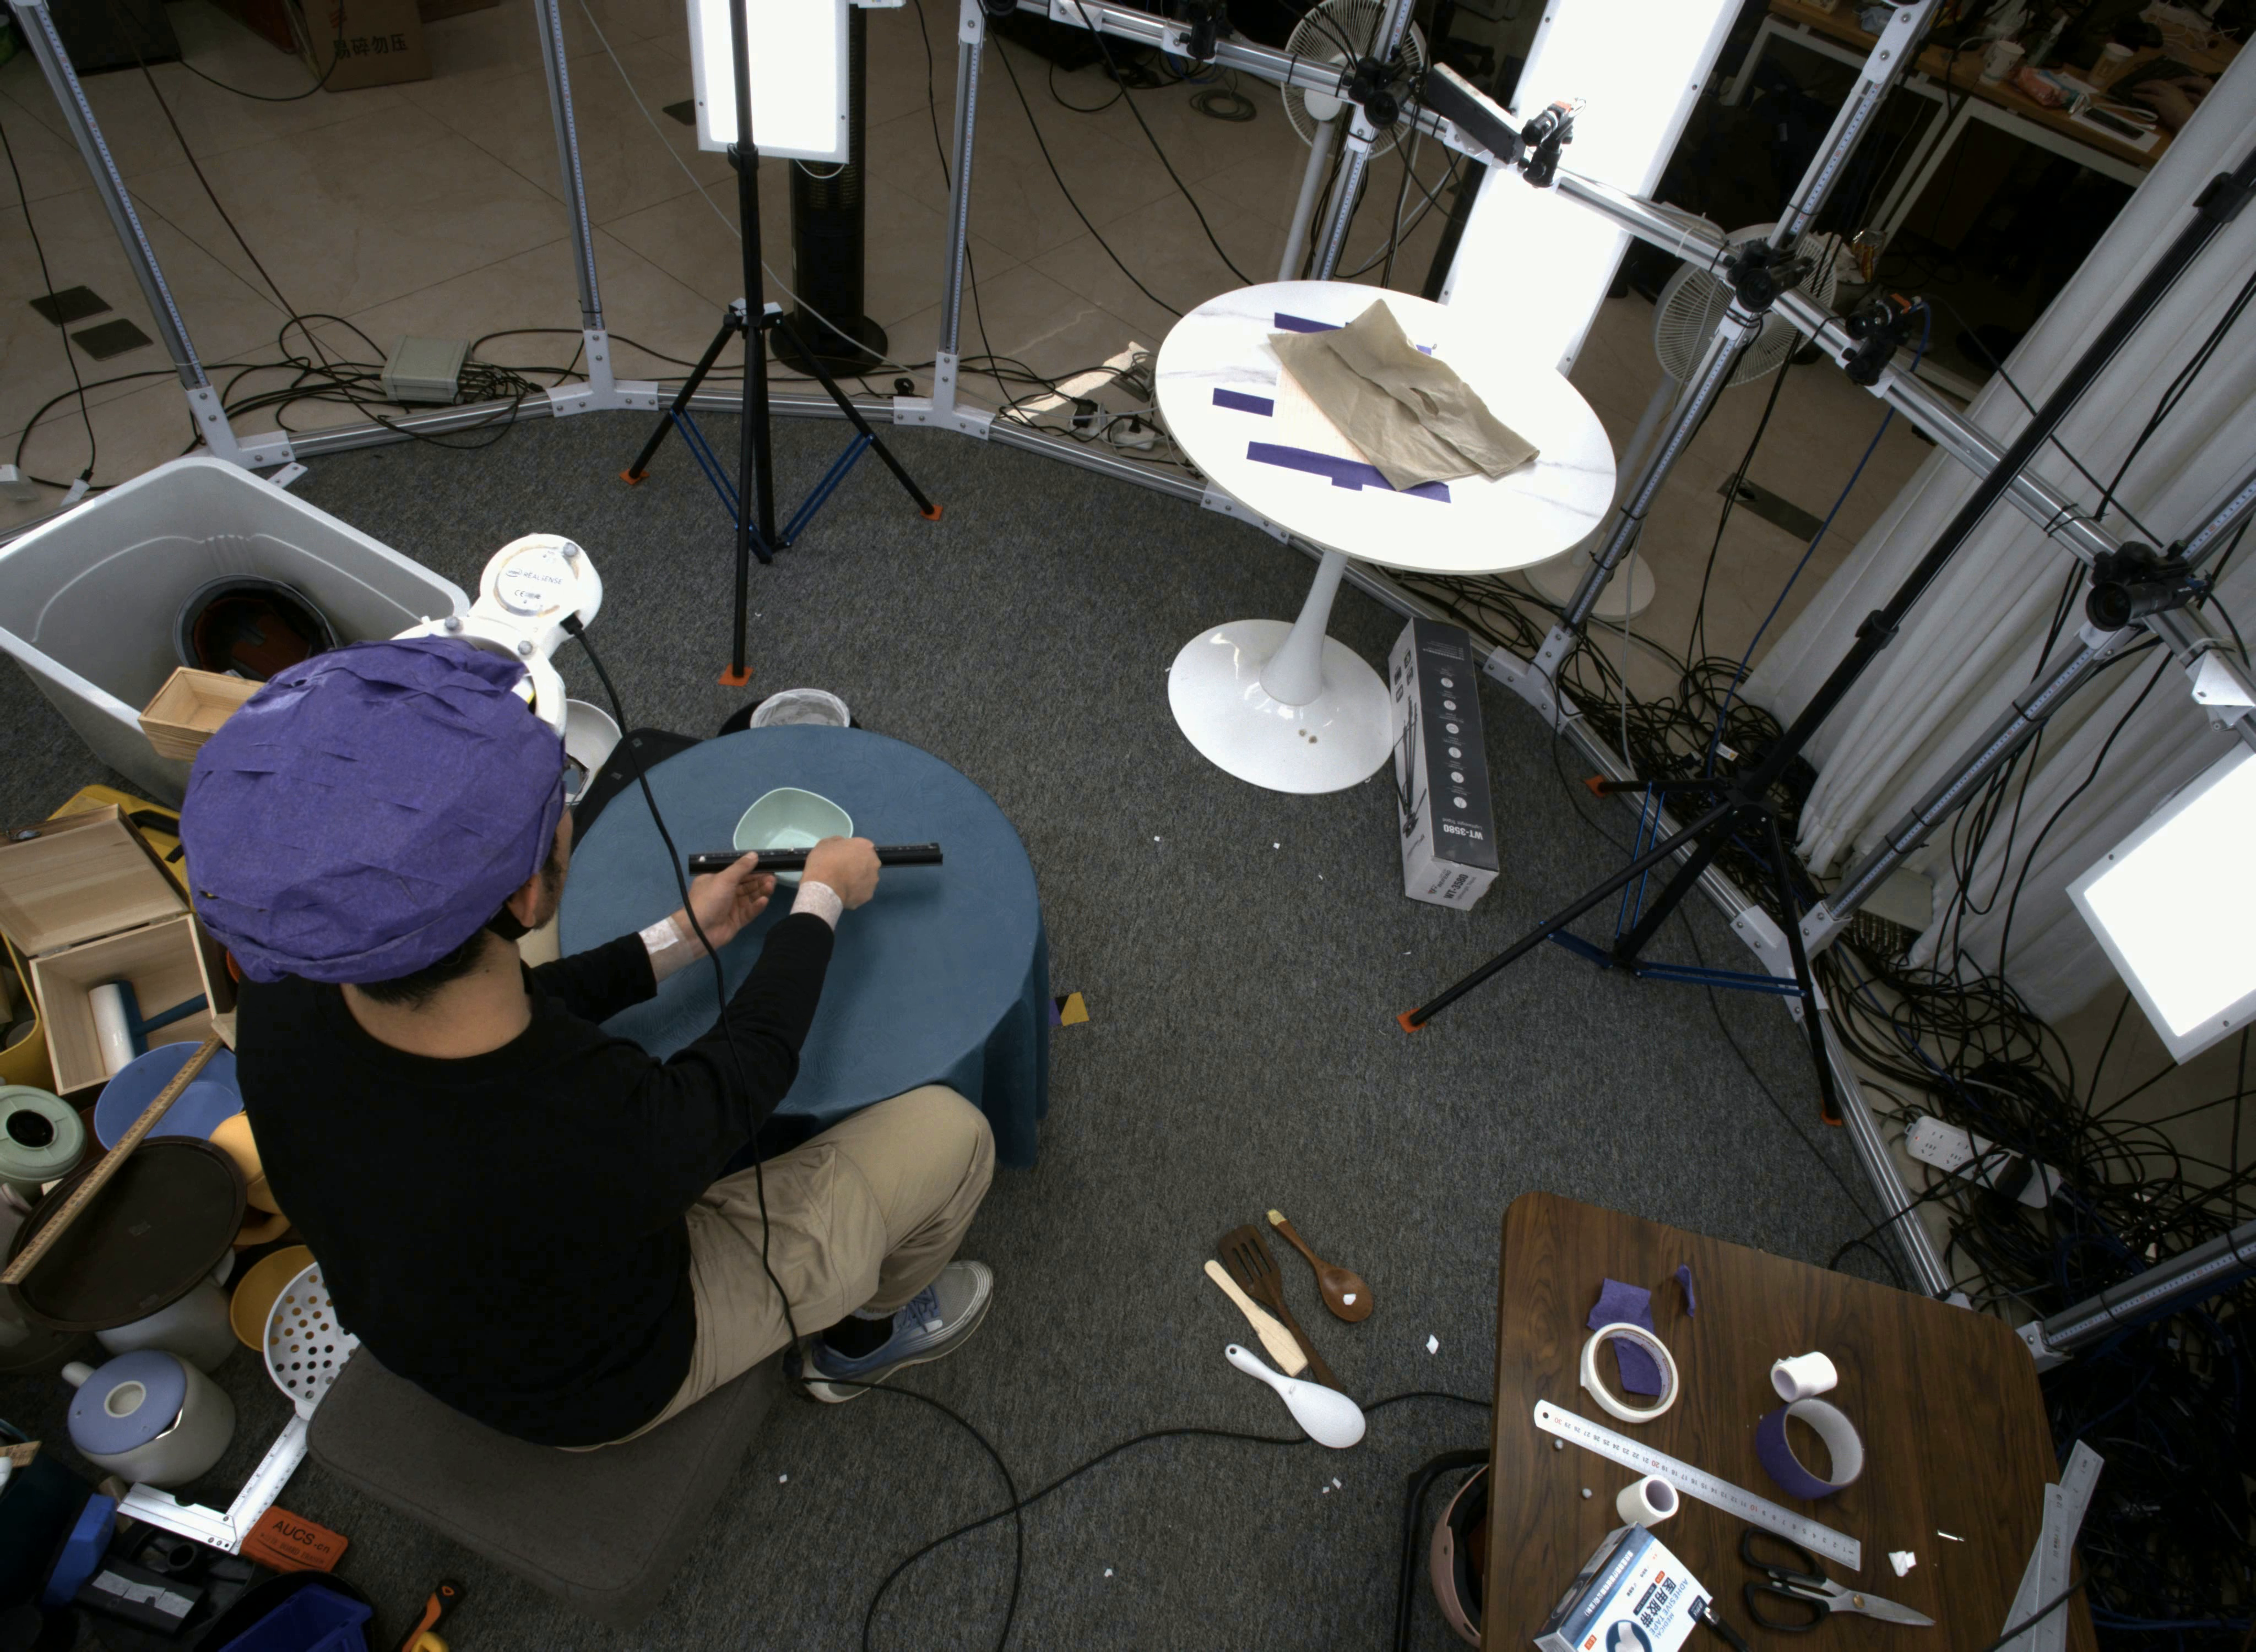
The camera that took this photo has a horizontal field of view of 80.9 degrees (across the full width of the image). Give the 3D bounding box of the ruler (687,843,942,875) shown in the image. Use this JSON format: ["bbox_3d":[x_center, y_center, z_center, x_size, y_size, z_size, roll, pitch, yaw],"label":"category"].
[{"bbox_3d":[-0.387,0.034,1.615,0.315,0.017,0.038,-2,47,-21],"label":"ruler"}]

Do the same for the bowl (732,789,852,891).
[{"bbox_3d":[-0.430,0.027,1.662,0.151,0.060,0.148,9,51,-9],"label":"bowl"}]
